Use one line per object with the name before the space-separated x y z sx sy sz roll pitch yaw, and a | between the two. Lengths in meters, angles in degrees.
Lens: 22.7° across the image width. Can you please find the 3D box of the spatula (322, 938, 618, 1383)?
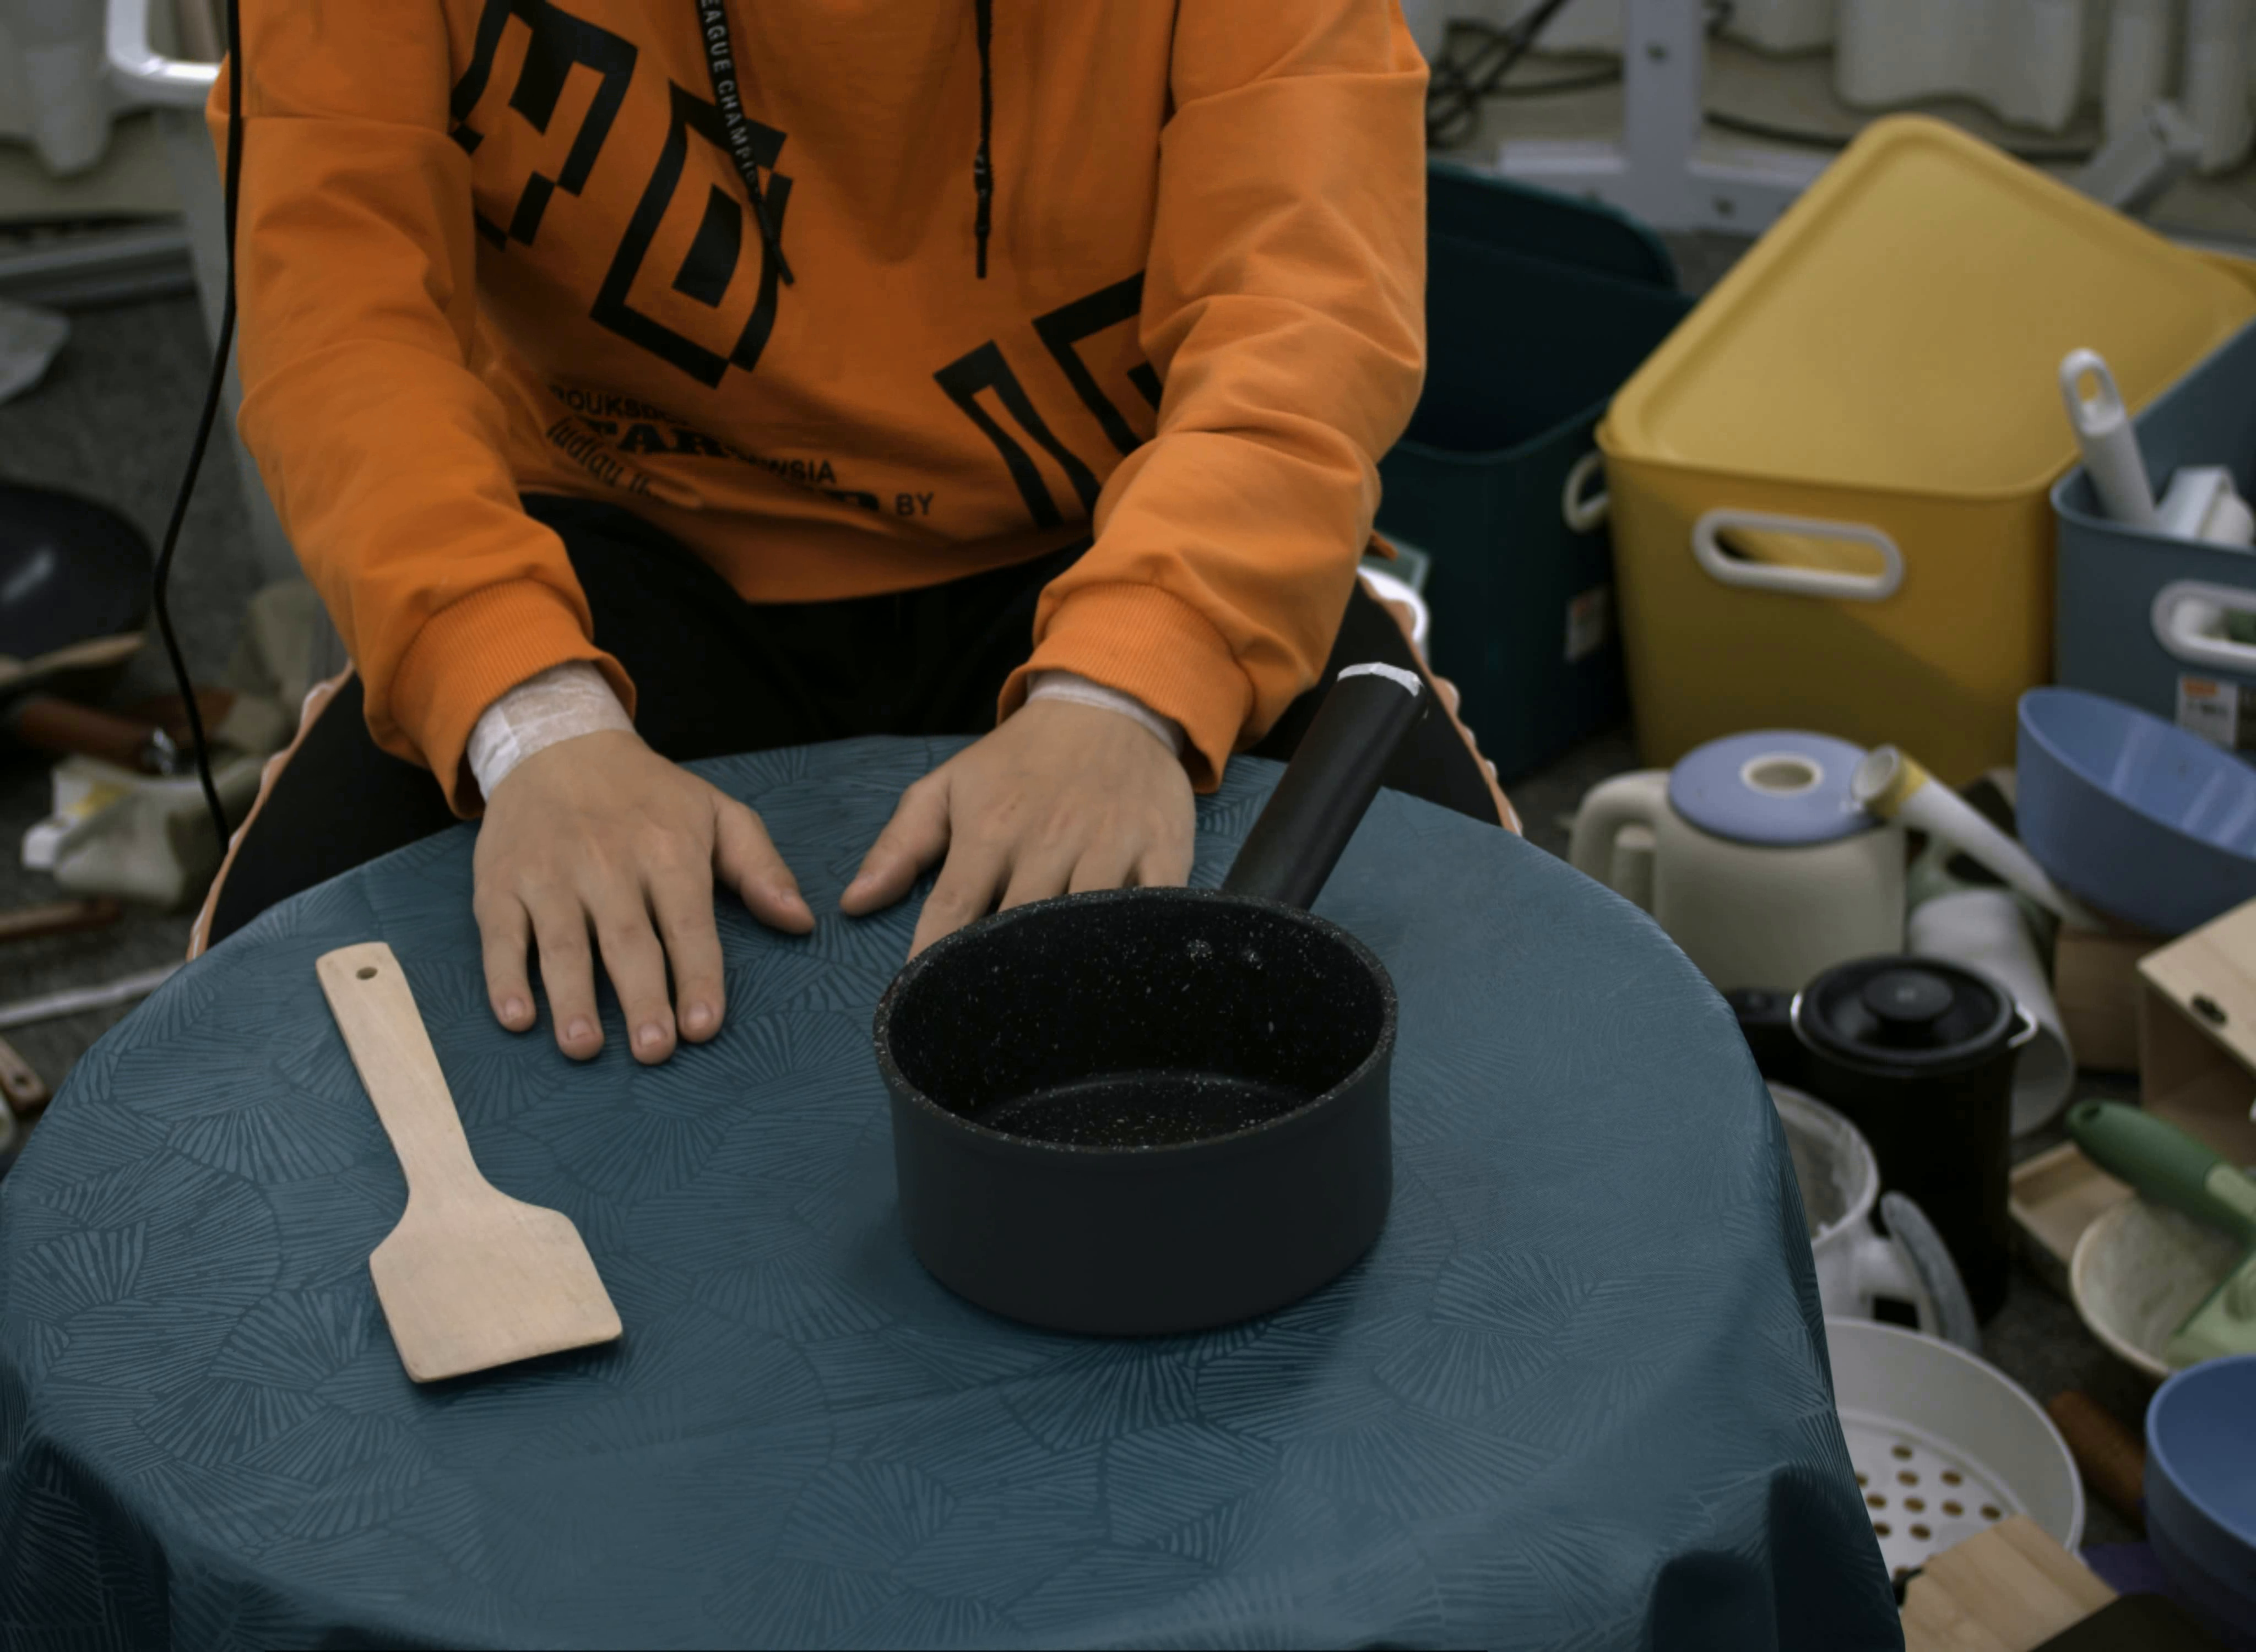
spatula | -0.237 0.108 1.902 0.072 0.010 0.296 -14 29 -12

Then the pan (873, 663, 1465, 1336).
pan | 0.037 0.054 1.897 0.171 0.085 0.334 10 32 23
